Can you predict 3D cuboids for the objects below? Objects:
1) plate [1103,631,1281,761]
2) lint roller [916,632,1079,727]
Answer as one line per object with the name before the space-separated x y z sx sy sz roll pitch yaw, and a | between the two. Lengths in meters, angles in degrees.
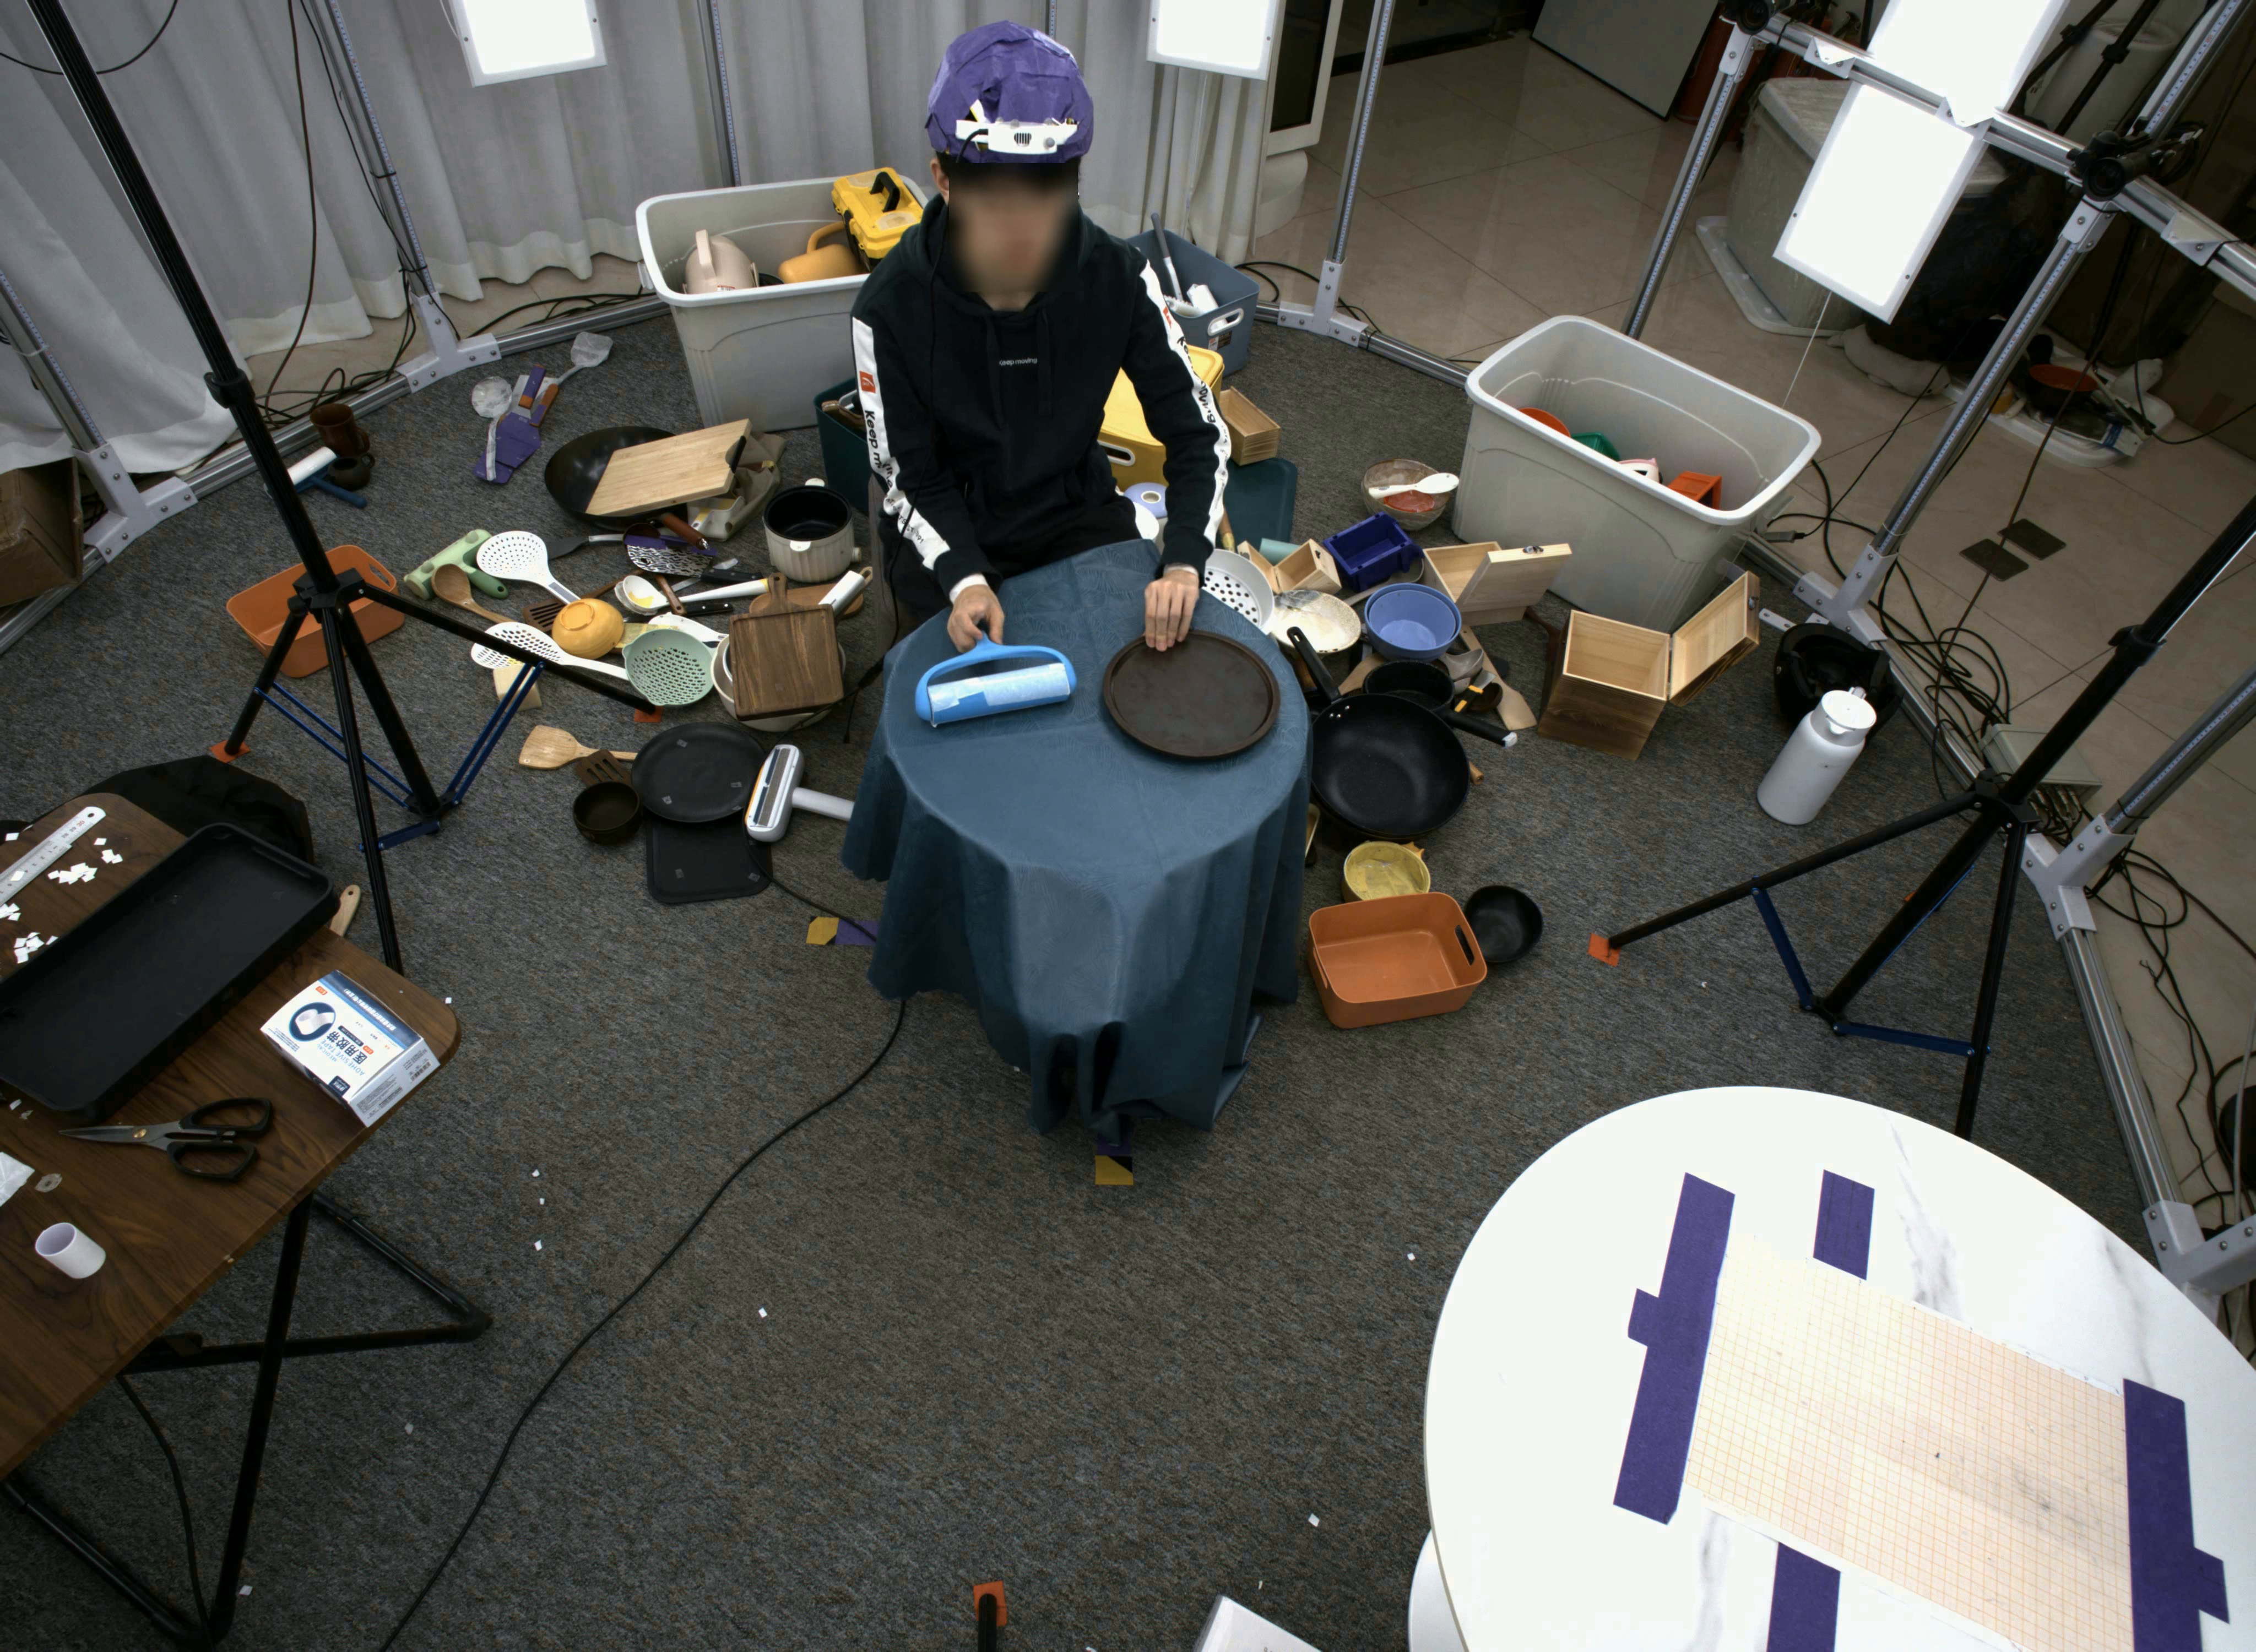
plate | 0.090 -0.186 1.819 0.254 0.028 0.261 3 49 -3
lint roller | -0.199 -0.228 1.816 0.229 0.066 0.184 -15 53 -14
